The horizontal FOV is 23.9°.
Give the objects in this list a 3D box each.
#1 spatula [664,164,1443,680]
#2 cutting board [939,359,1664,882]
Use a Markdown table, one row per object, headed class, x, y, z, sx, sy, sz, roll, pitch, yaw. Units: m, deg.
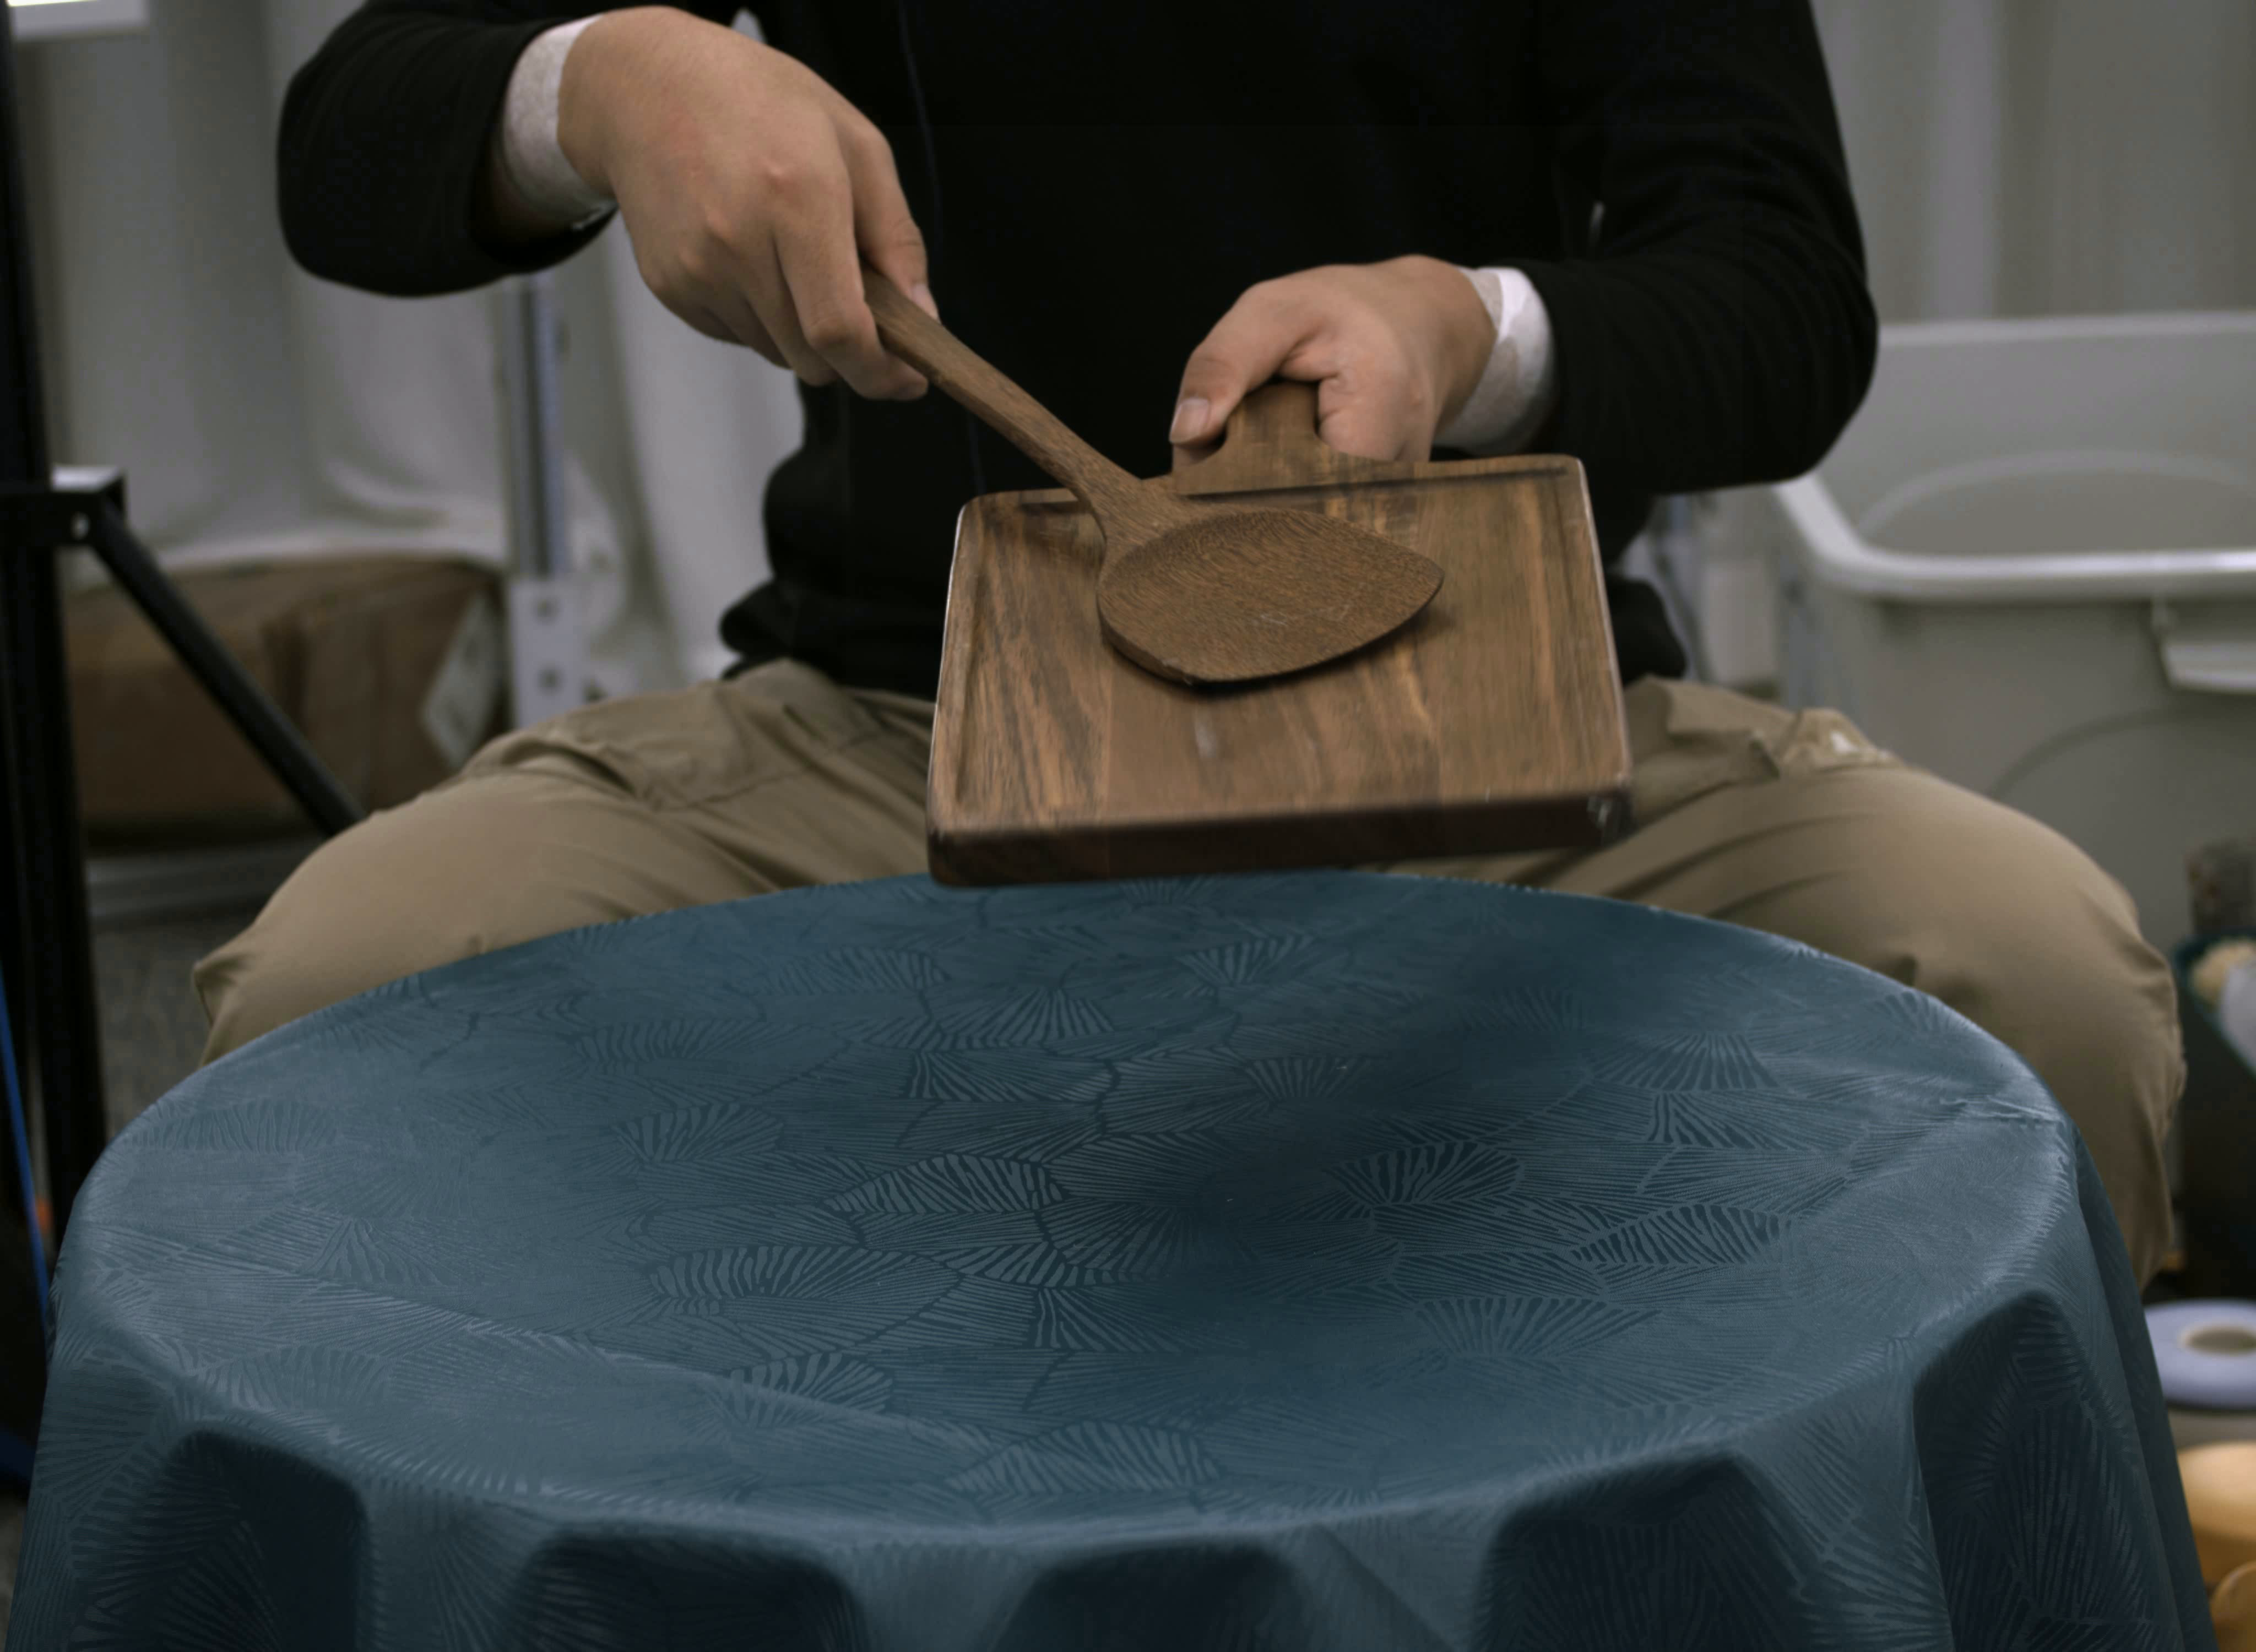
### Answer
| class | x | y | z | sx | sy | sz | roll | pitch | yaw |
| --- | --- | --- | --- | --- | --- | --- | --- | --- | --- |
| spatula | -0.044 | -0.135 | 1.664 | 0.094 | 0.015 | 0.395 | -23 | 38 | -25 |
| cutting board | 0.046 | -0.072 | 1.591 | 0.200 | 0.023 | 0.354 | -5 | 24 | 3 |
